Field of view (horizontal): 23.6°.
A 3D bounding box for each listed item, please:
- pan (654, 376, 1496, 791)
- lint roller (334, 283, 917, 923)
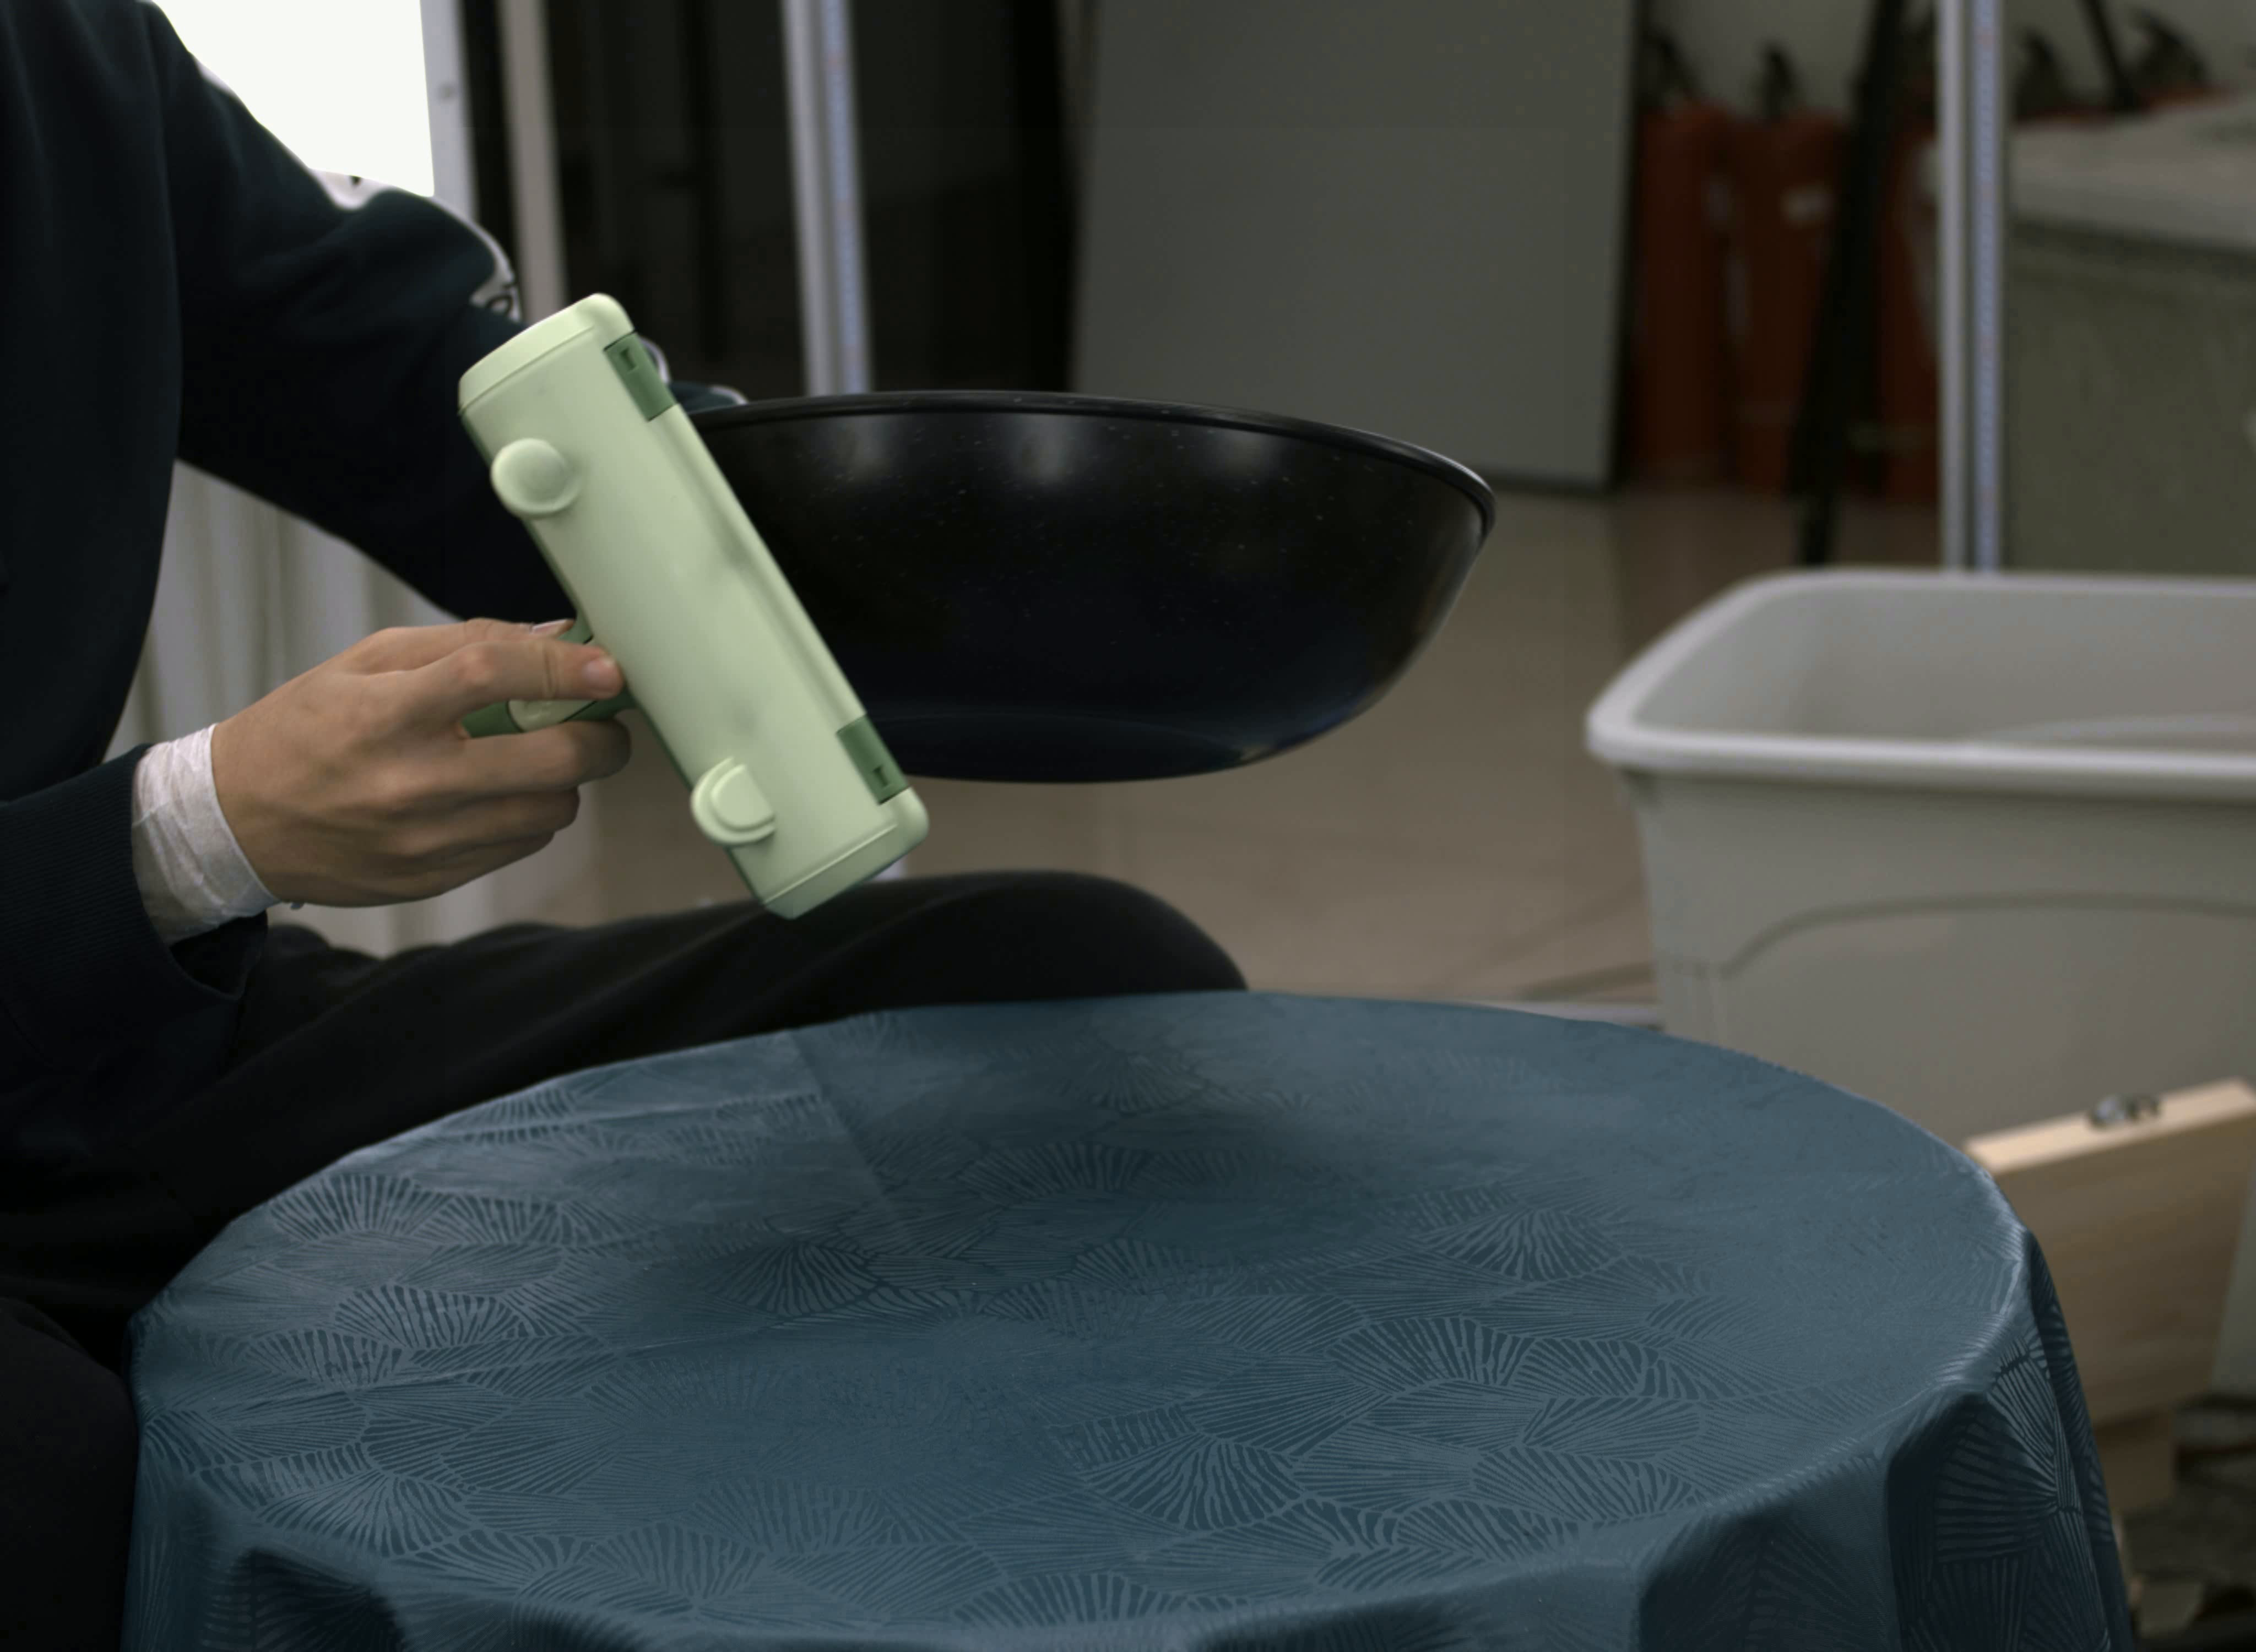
[{"bbox_3d":[-0.023,-0.065,1.833,0.308,0.113,0.474,1,-9,9],"label":"pan"},{"bbox_3d":[-0.183,-0.038,1.657,0.184,0.200,0.081,-31,1,20],"label":"lint roller"}]
